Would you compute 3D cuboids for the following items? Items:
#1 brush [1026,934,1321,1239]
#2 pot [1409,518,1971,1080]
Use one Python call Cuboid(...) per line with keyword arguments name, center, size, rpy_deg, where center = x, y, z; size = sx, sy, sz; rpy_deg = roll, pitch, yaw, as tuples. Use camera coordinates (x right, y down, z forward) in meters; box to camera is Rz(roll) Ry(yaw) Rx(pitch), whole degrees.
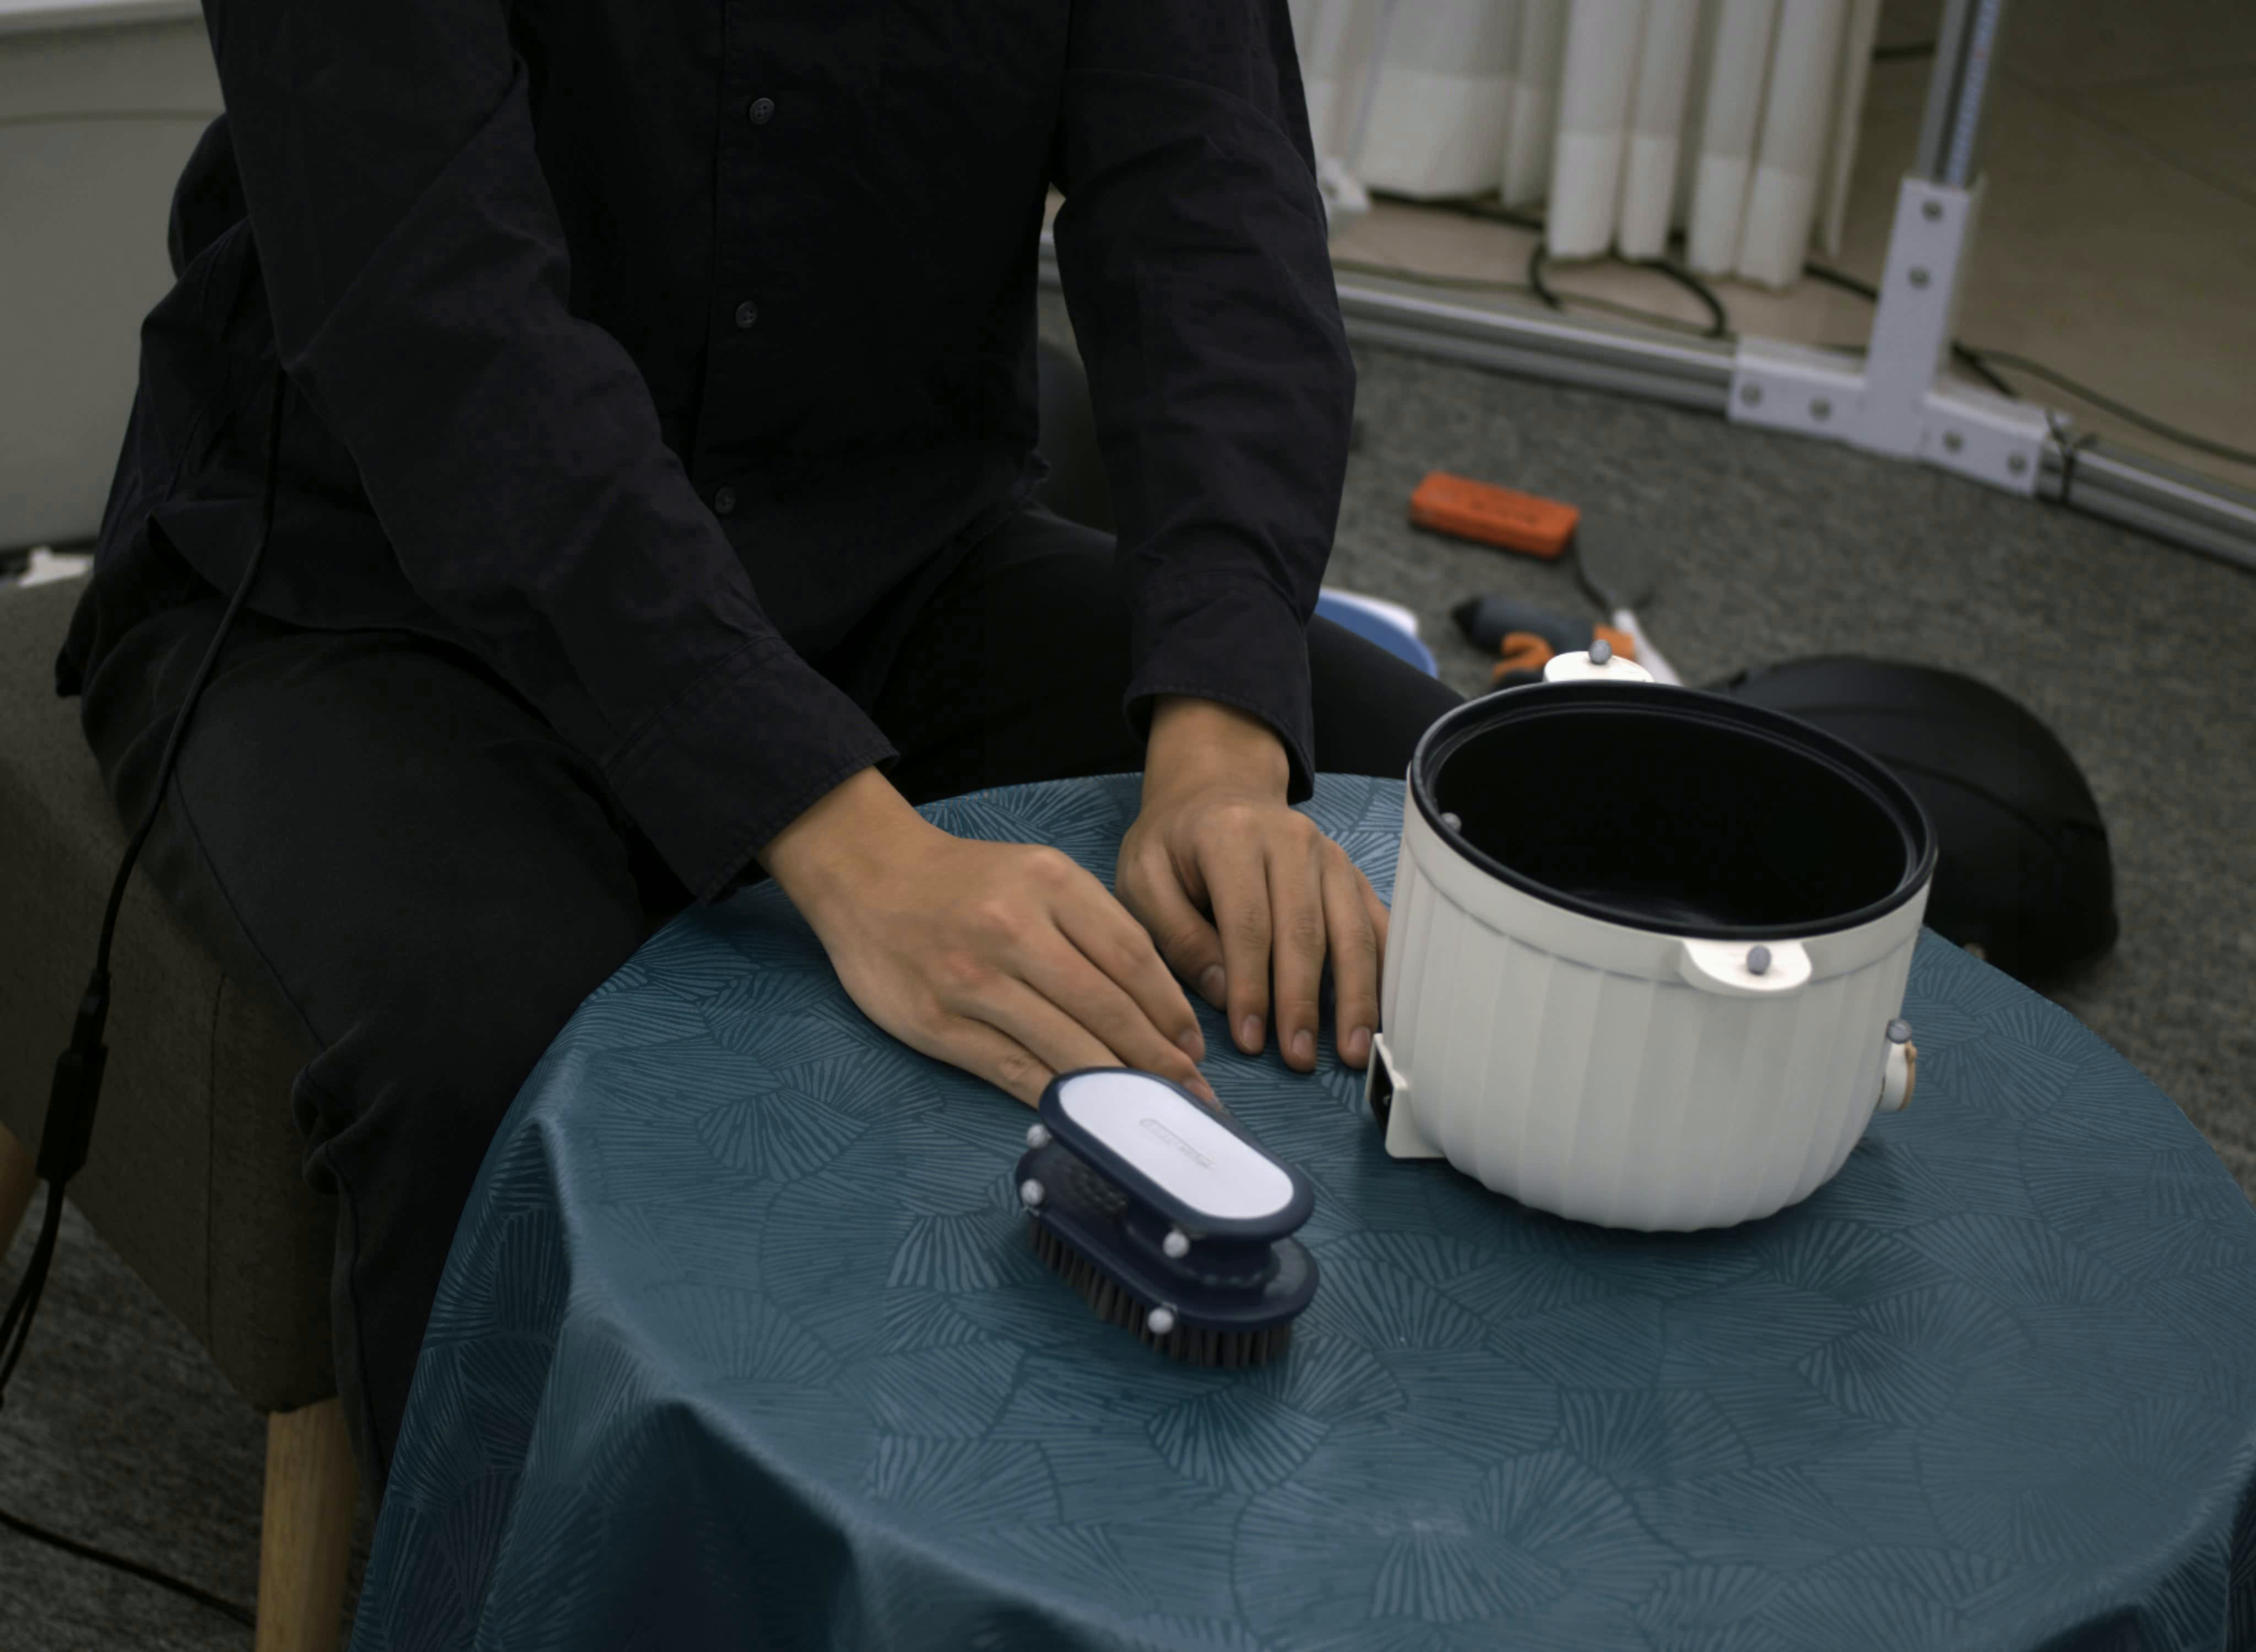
Cuboid(name="brush", center=(0.015, 0.088, 1.766), size=(0.067, 0.061, 0.123), rpy_deg=(-15, 37, -31))
Cuboid(name="pot", center=(0.199, -0.001, 1.870), size=(0.189, 0.142, 0.242), rpy_deg=(-2, 29, -11))
